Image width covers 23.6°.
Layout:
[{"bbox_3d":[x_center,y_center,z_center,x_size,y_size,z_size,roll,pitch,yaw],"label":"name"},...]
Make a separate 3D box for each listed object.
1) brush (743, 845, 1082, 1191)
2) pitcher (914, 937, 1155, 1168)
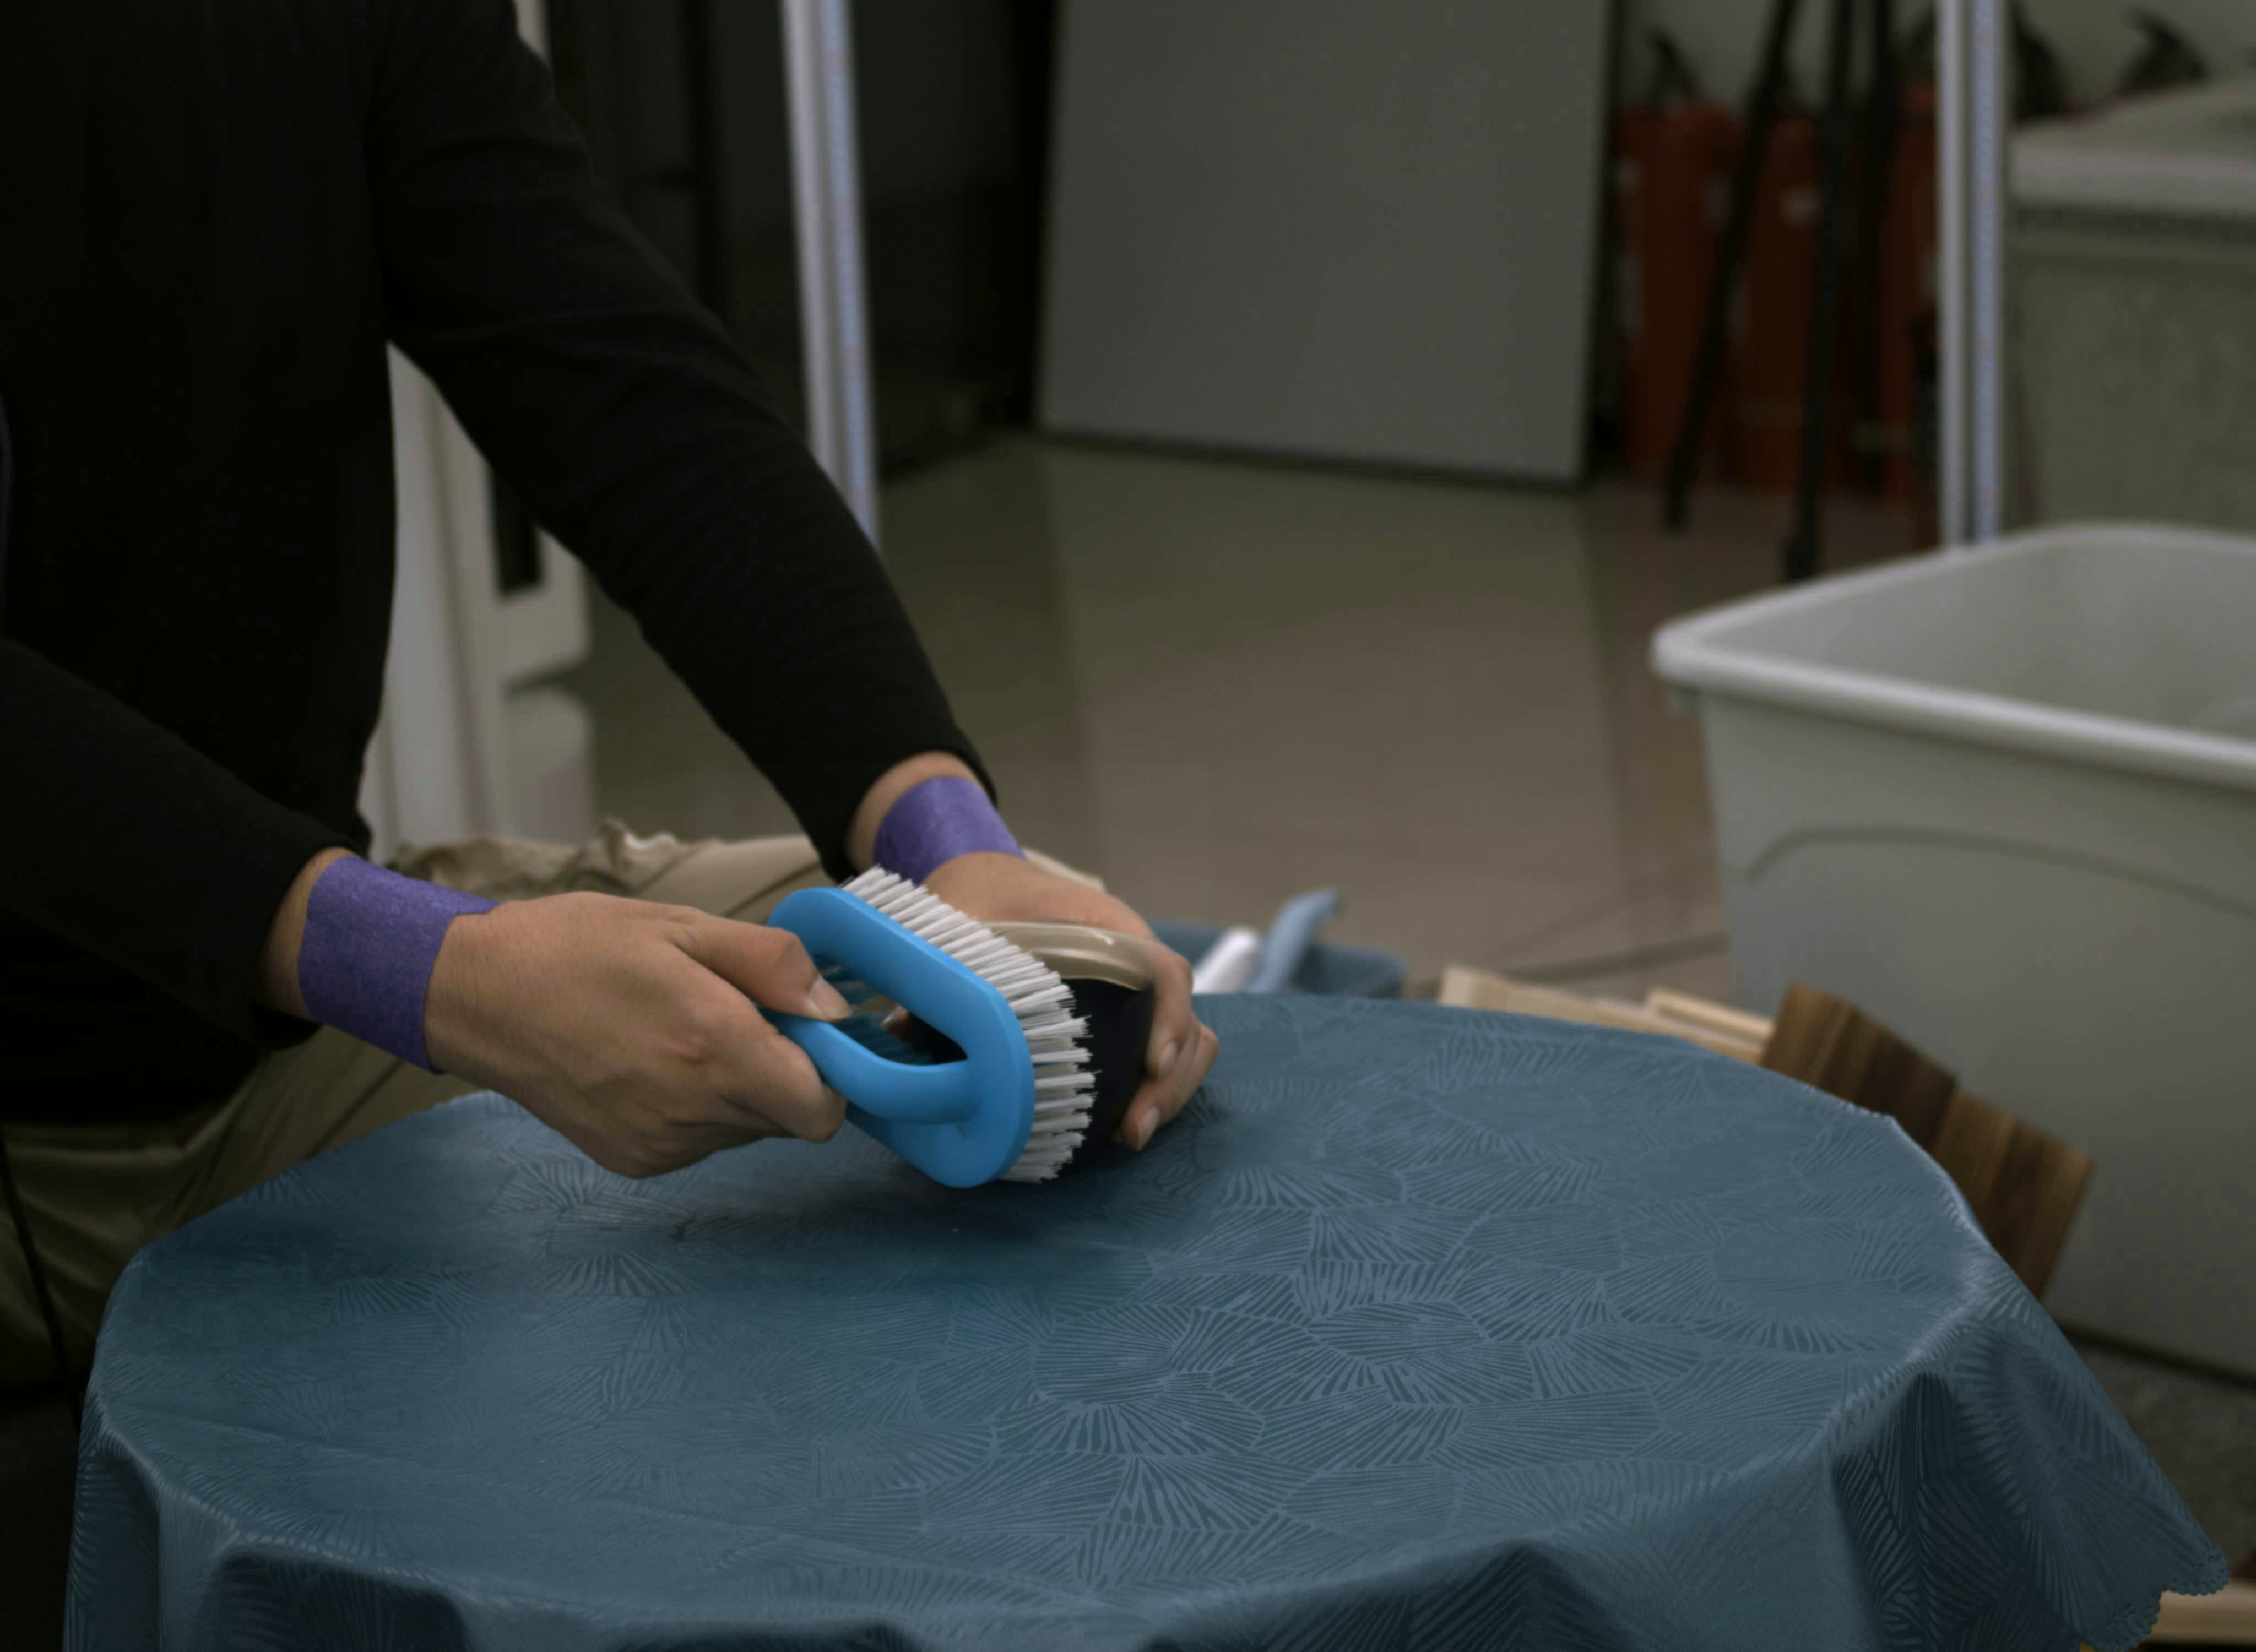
[{"bbox_3d":[-0.080,0.066,1.744,0.062,0.085,0.143,-12,31,-38],"label":"brush"},{"bbox_3d":[-0.031,0.074,1.800,0.082,0.072,0.097,-3,13,-37],"label":"pitcher"}]
